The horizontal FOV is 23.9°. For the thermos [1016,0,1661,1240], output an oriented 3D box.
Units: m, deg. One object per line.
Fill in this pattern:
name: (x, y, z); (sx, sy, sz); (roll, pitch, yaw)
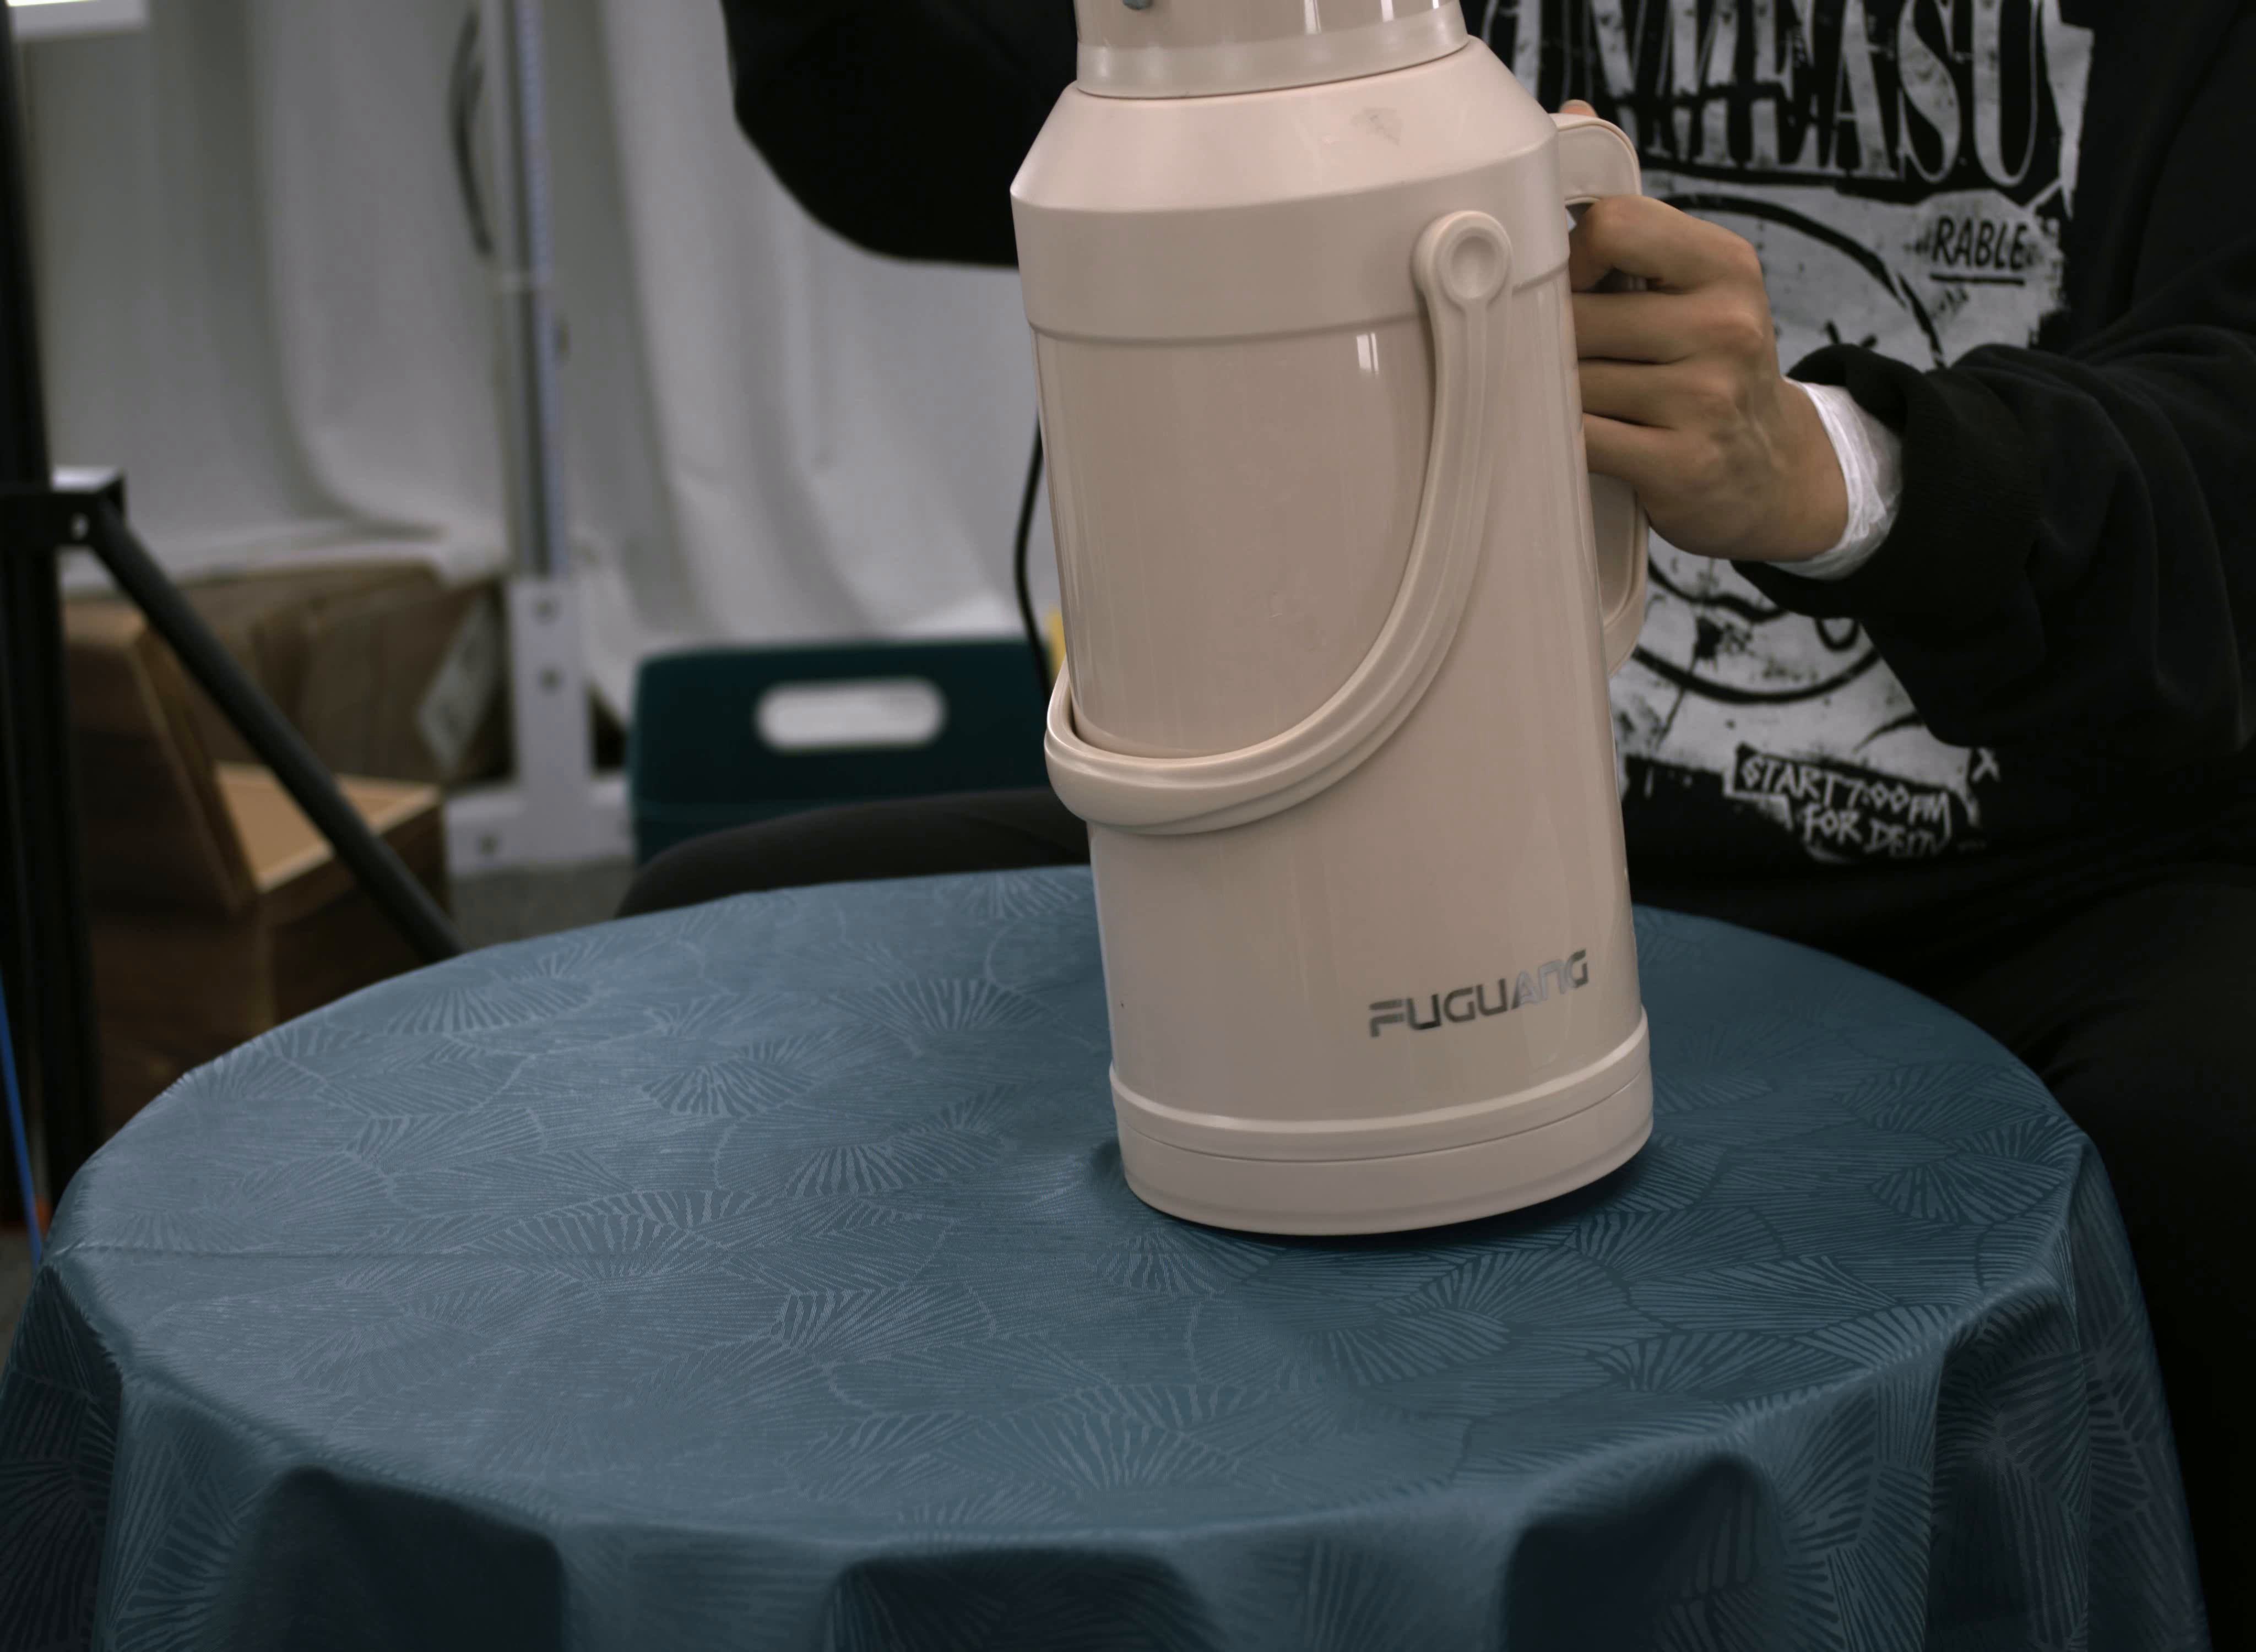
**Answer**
thermos: (0.069, -0.099, 1.527); (0.202, 0.406, 0.179); (-16, 15, -31)
